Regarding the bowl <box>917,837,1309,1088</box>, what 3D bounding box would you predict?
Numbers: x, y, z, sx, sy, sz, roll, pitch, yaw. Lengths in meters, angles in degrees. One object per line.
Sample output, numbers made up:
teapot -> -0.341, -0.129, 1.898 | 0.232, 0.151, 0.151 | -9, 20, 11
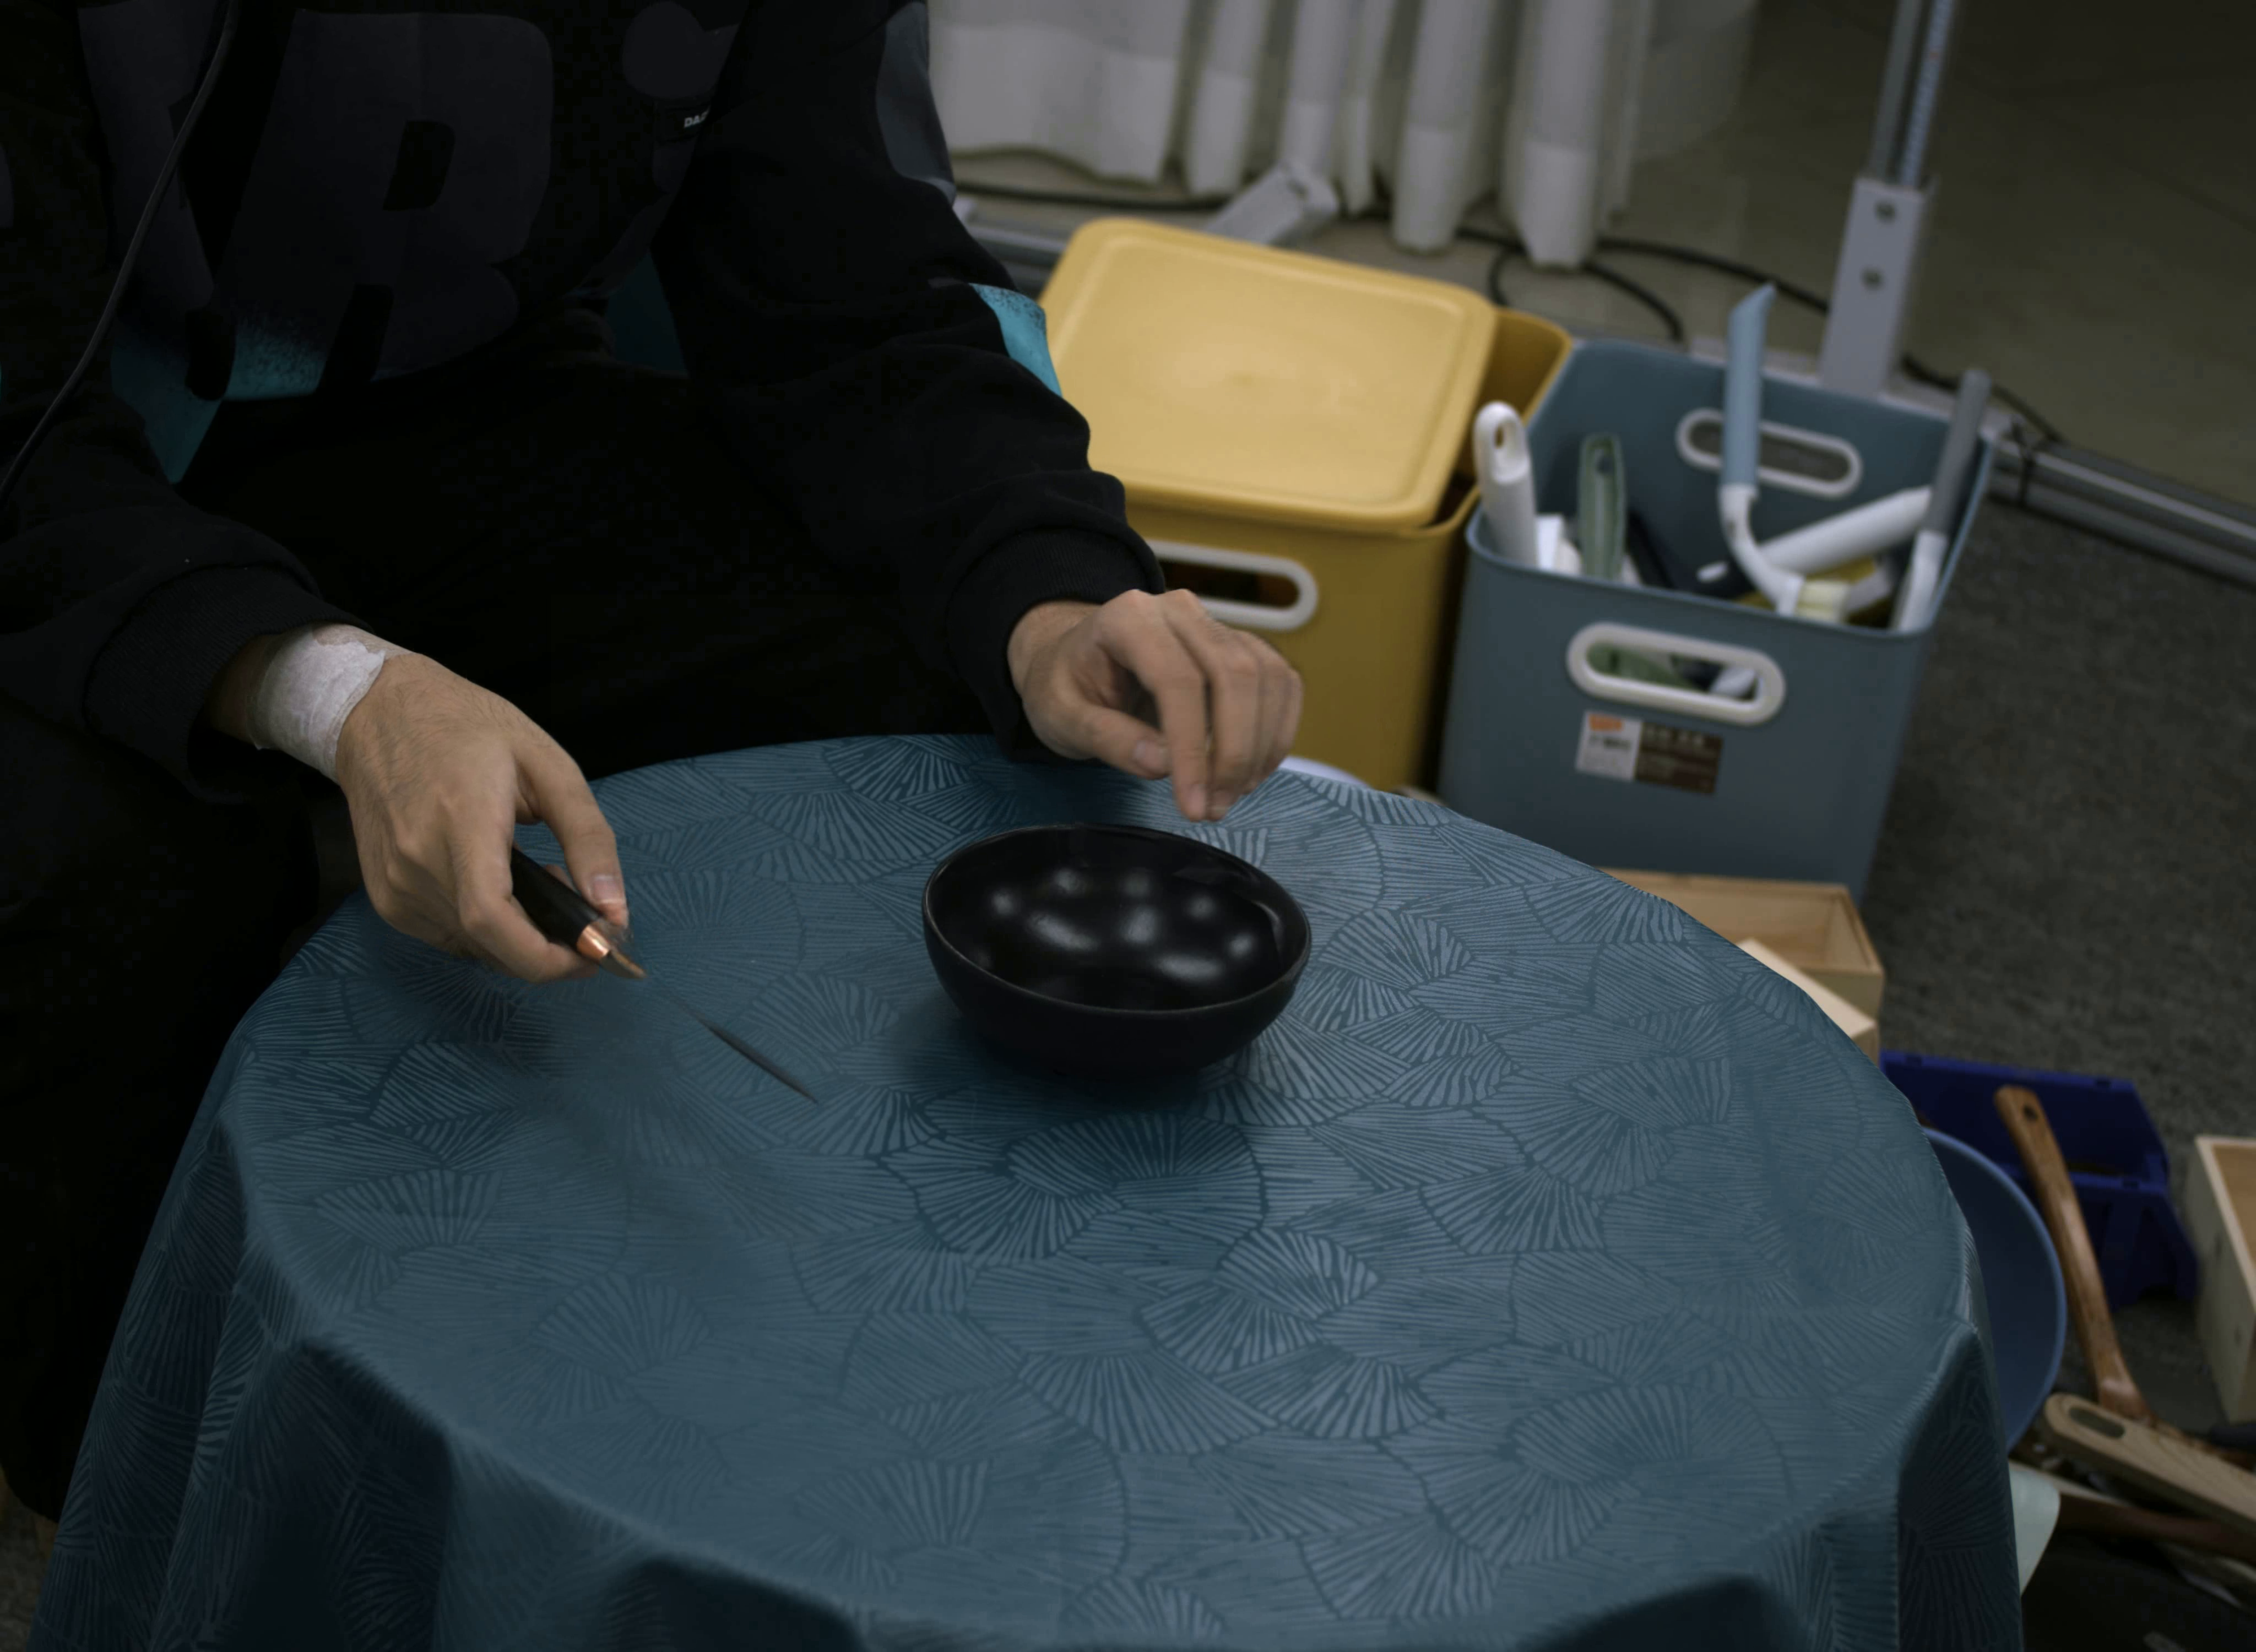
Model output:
bowl -> -0.006, 0.055, 1.887 | 0.139, 0.049, 0.141 | 2, 25, -1

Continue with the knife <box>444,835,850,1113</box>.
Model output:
knife -> -0.165, 0.049, 1.798 | 0.026, 0.017, 0.227 | 23, 5, -46
